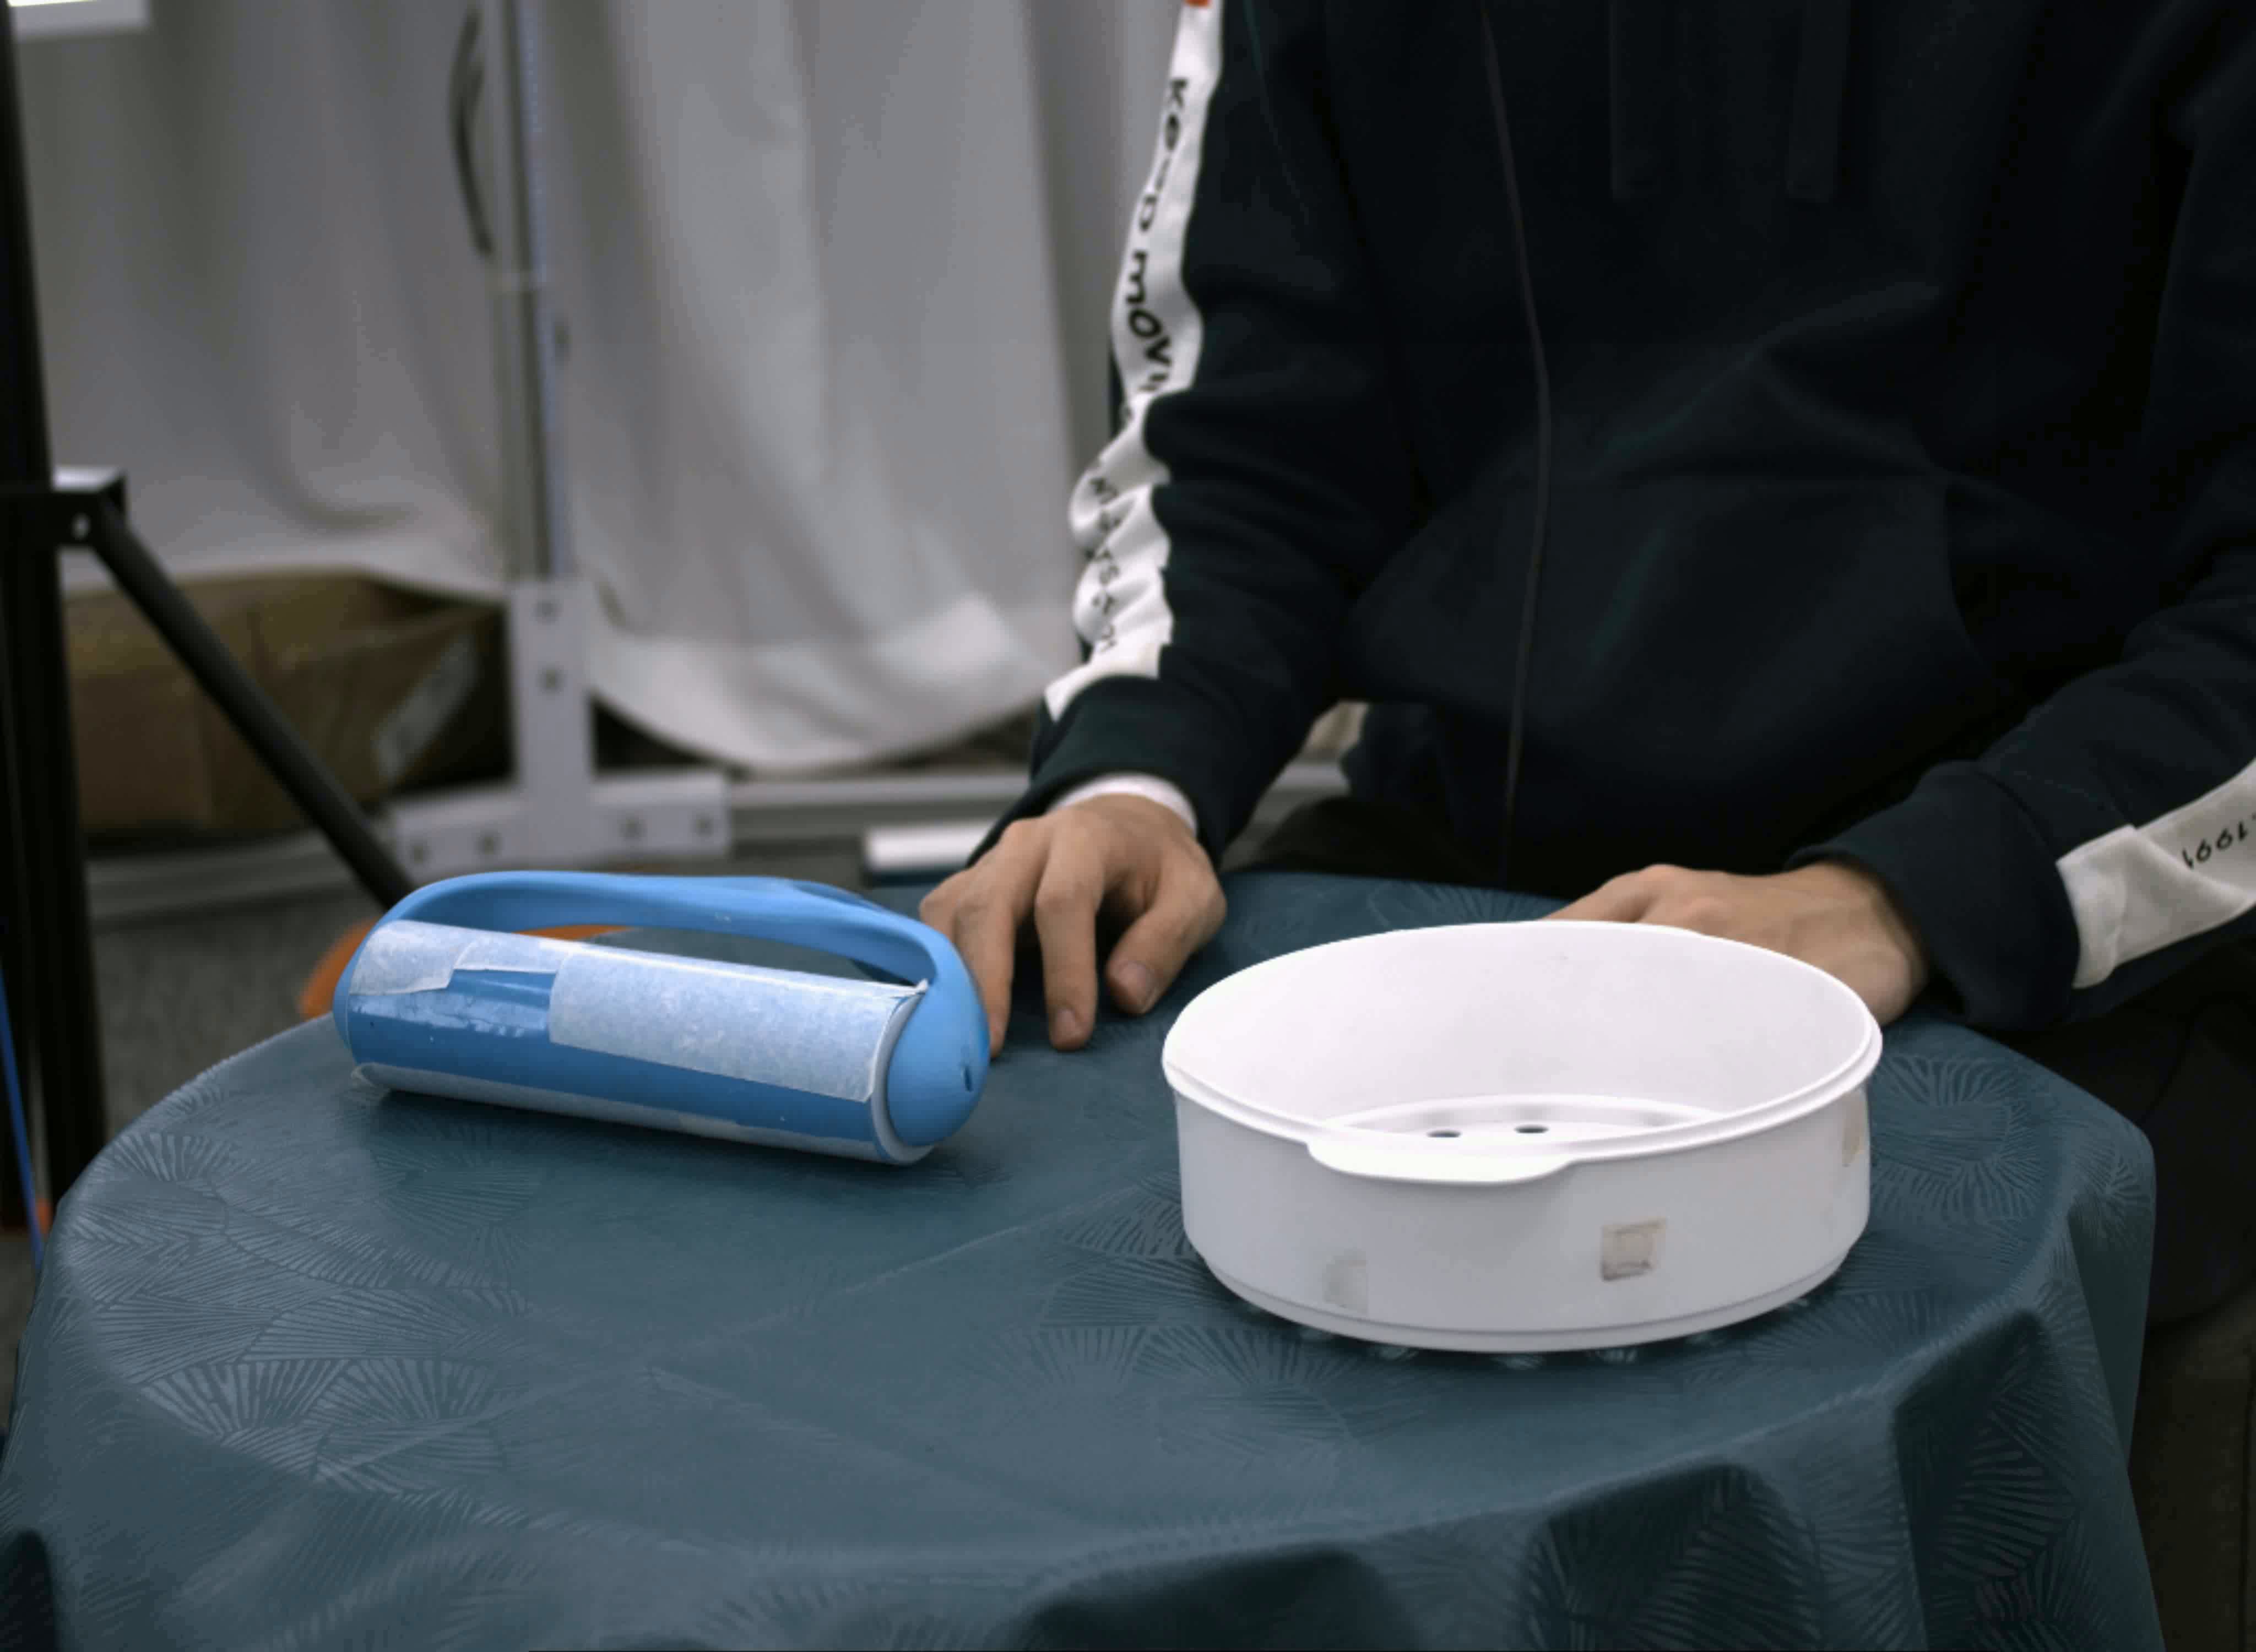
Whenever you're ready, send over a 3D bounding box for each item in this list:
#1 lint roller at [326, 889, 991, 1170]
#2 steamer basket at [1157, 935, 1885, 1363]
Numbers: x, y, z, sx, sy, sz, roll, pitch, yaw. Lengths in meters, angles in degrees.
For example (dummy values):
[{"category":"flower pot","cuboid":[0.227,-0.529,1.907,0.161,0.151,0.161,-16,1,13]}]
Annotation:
[{"category":"lint roller","cuboid":[-0.122,0.051,1.681,0.232,0.068,0.177,3,18,26]},{"category":"steamer basket","cuboid":[0.110,0.090,1.480,0.204,0.069,0.228,3,16,18]}]
